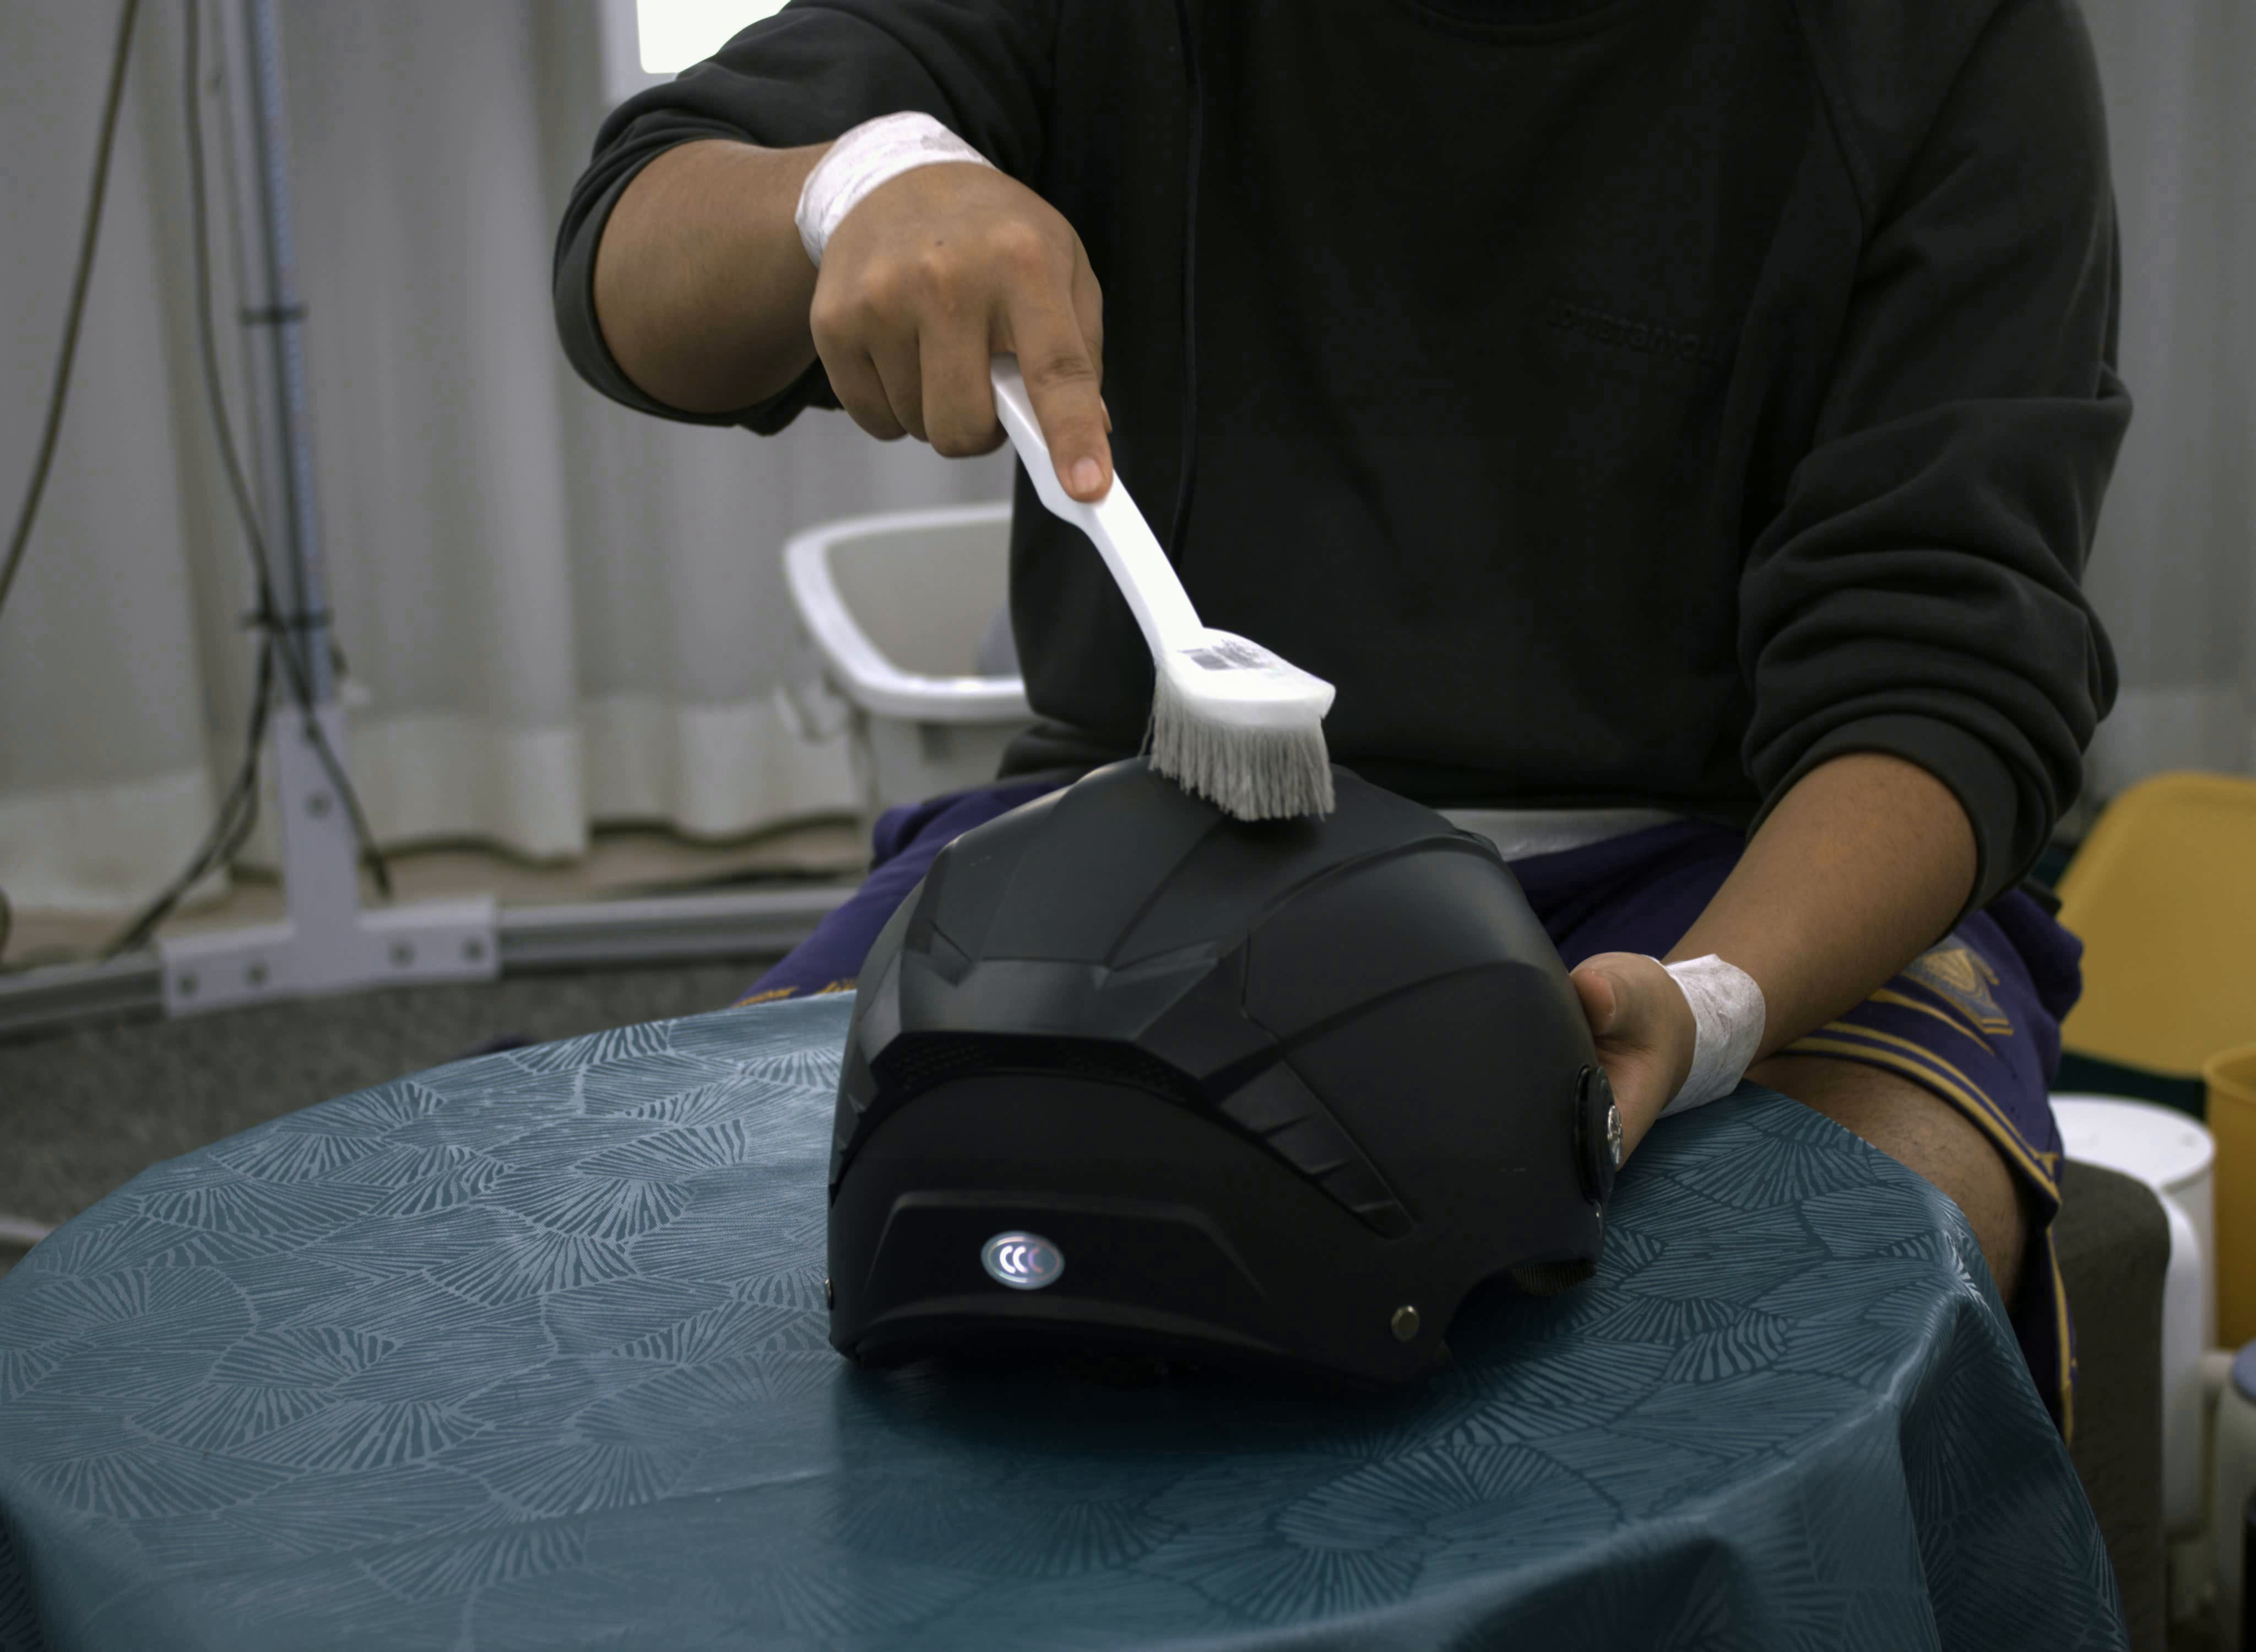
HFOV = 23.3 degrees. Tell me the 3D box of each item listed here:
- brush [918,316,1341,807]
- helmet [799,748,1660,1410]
[{"bbox_3d":[-0.005,-0.077,1.612,0.034,0.050,0.247,-9,36,-26],"label":"brush"},{"bbox_3d":[0.026,0.060,1.595,0.247,0.171,0.278,2,19,25],"label":"helmet"}]
